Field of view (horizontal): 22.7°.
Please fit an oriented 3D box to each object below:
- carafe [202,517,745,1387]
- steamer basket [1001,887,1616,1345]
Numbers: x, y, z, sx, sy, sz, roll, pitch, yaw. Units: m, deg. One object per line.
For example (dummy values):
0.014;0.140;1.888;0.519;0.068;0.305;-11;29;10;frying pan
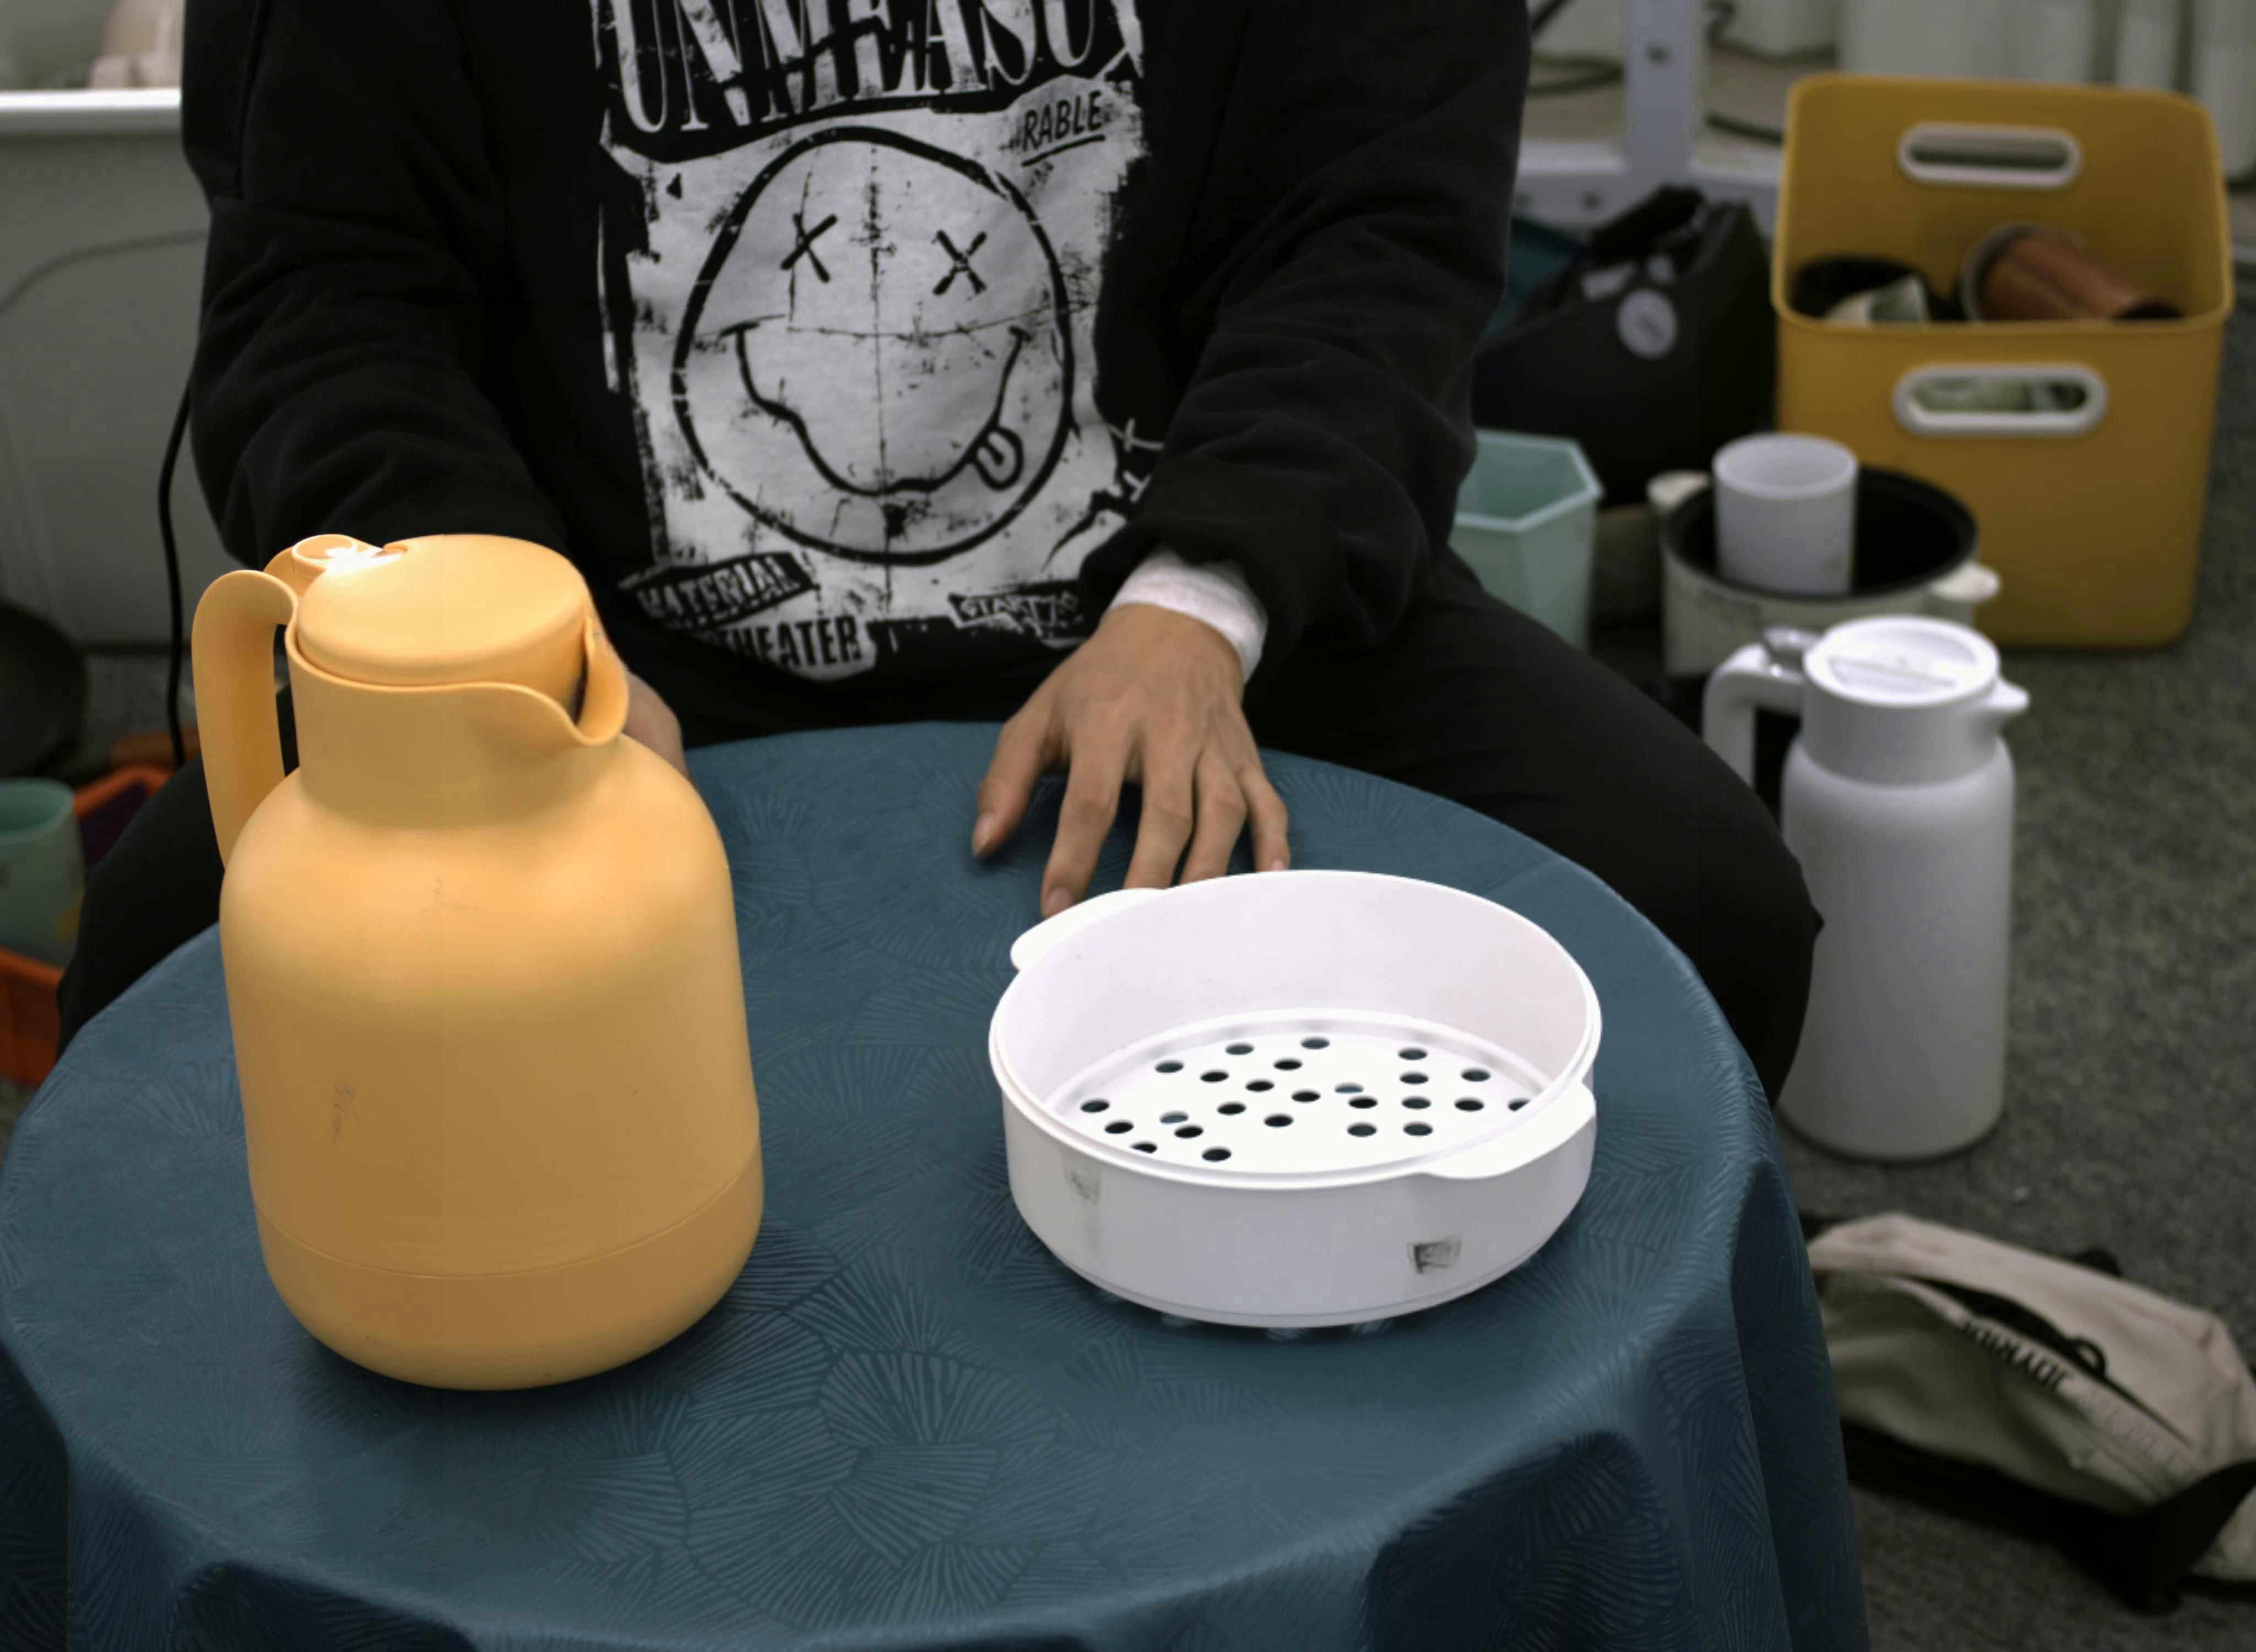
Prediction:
-0.217;0.029;1.776;0.165;0.258;0.202;-22;34;-38;carafe
0.060;0.095;1.840;0.204;0.068;0.230;-26;35;-36;steamer basket
